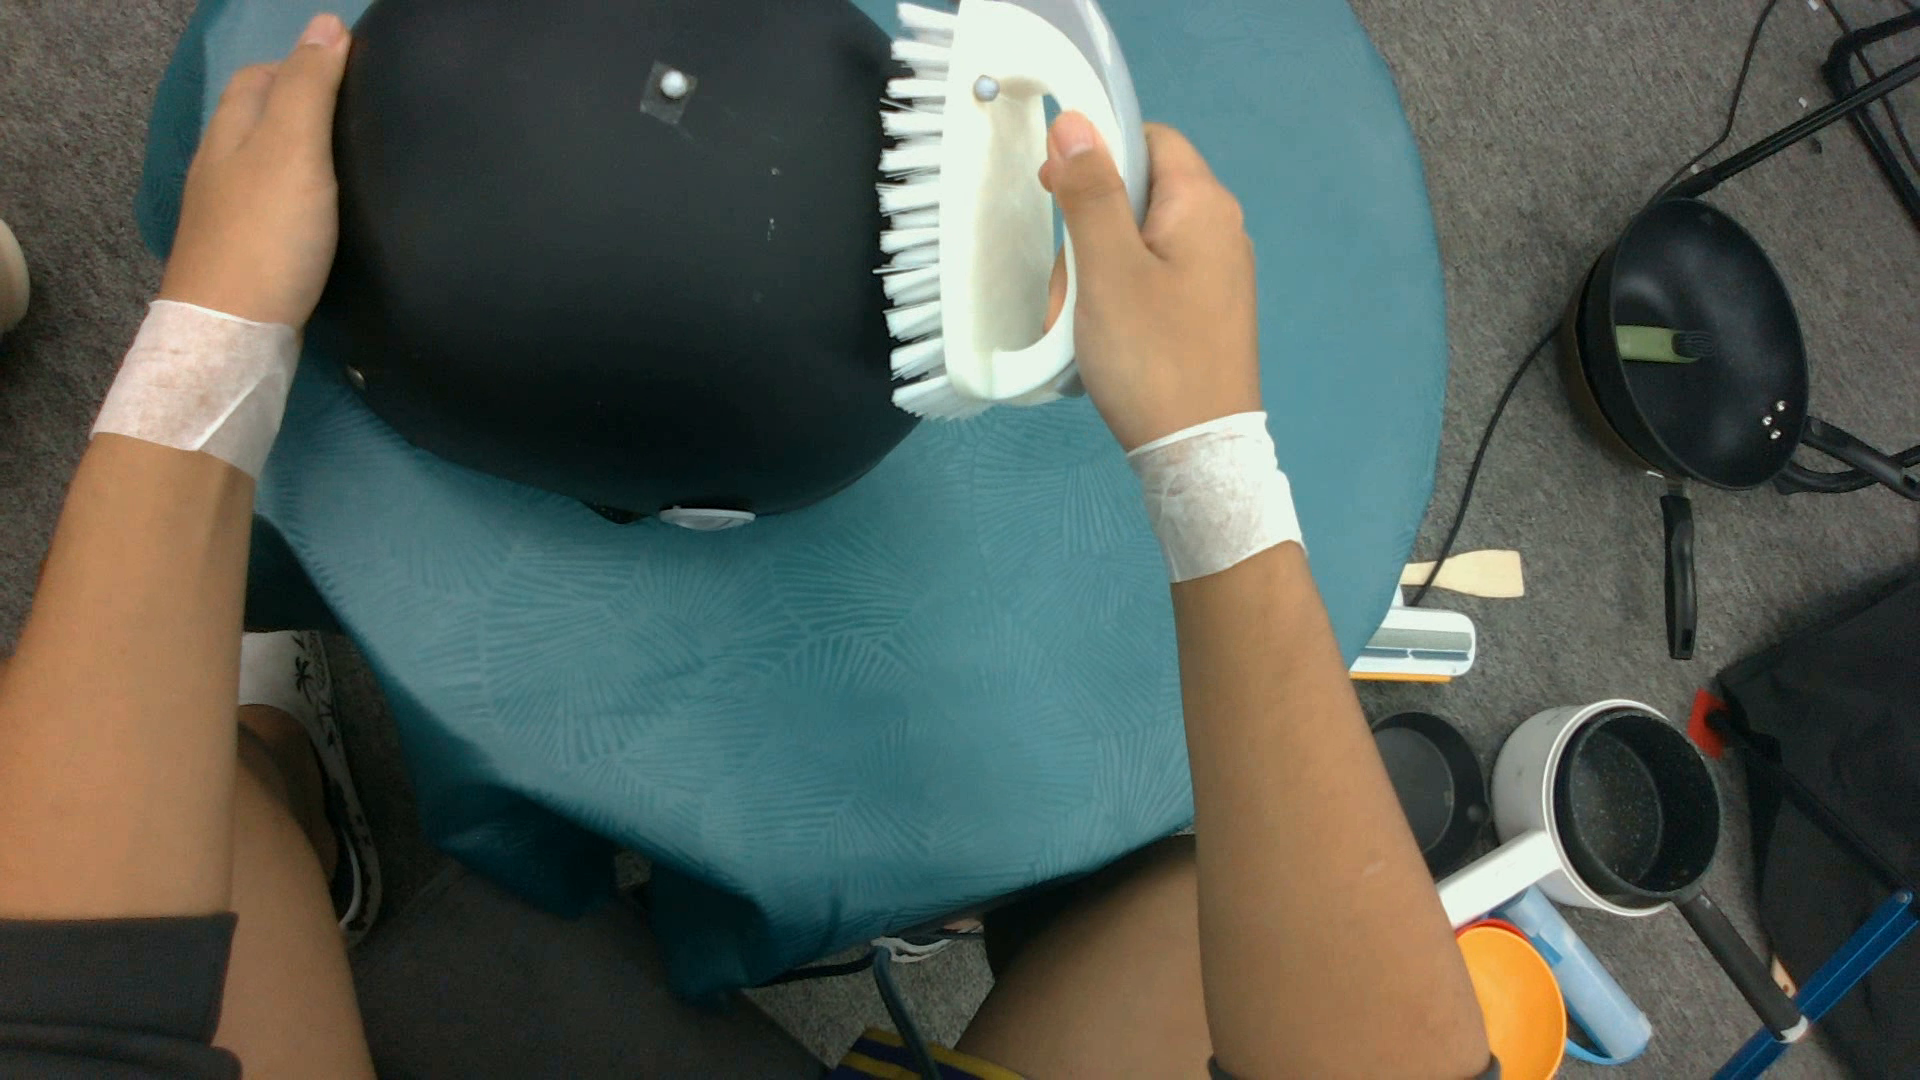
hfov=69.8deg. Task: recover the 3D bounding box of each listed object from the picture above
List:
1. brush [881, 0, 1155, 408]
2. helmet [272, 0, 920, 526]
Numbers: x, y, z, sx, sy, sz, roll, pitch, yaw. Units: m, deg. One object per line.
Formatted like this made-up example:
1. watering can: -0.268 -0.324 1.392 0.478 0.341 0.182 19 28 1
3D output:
1. brush: 0.021 -0.136 0.477 0.061 0.094 0.175 1 87 -57
2. helmet: -0.112 -0.129 0.522 0.273 0.166 0.230 15 78 -21
